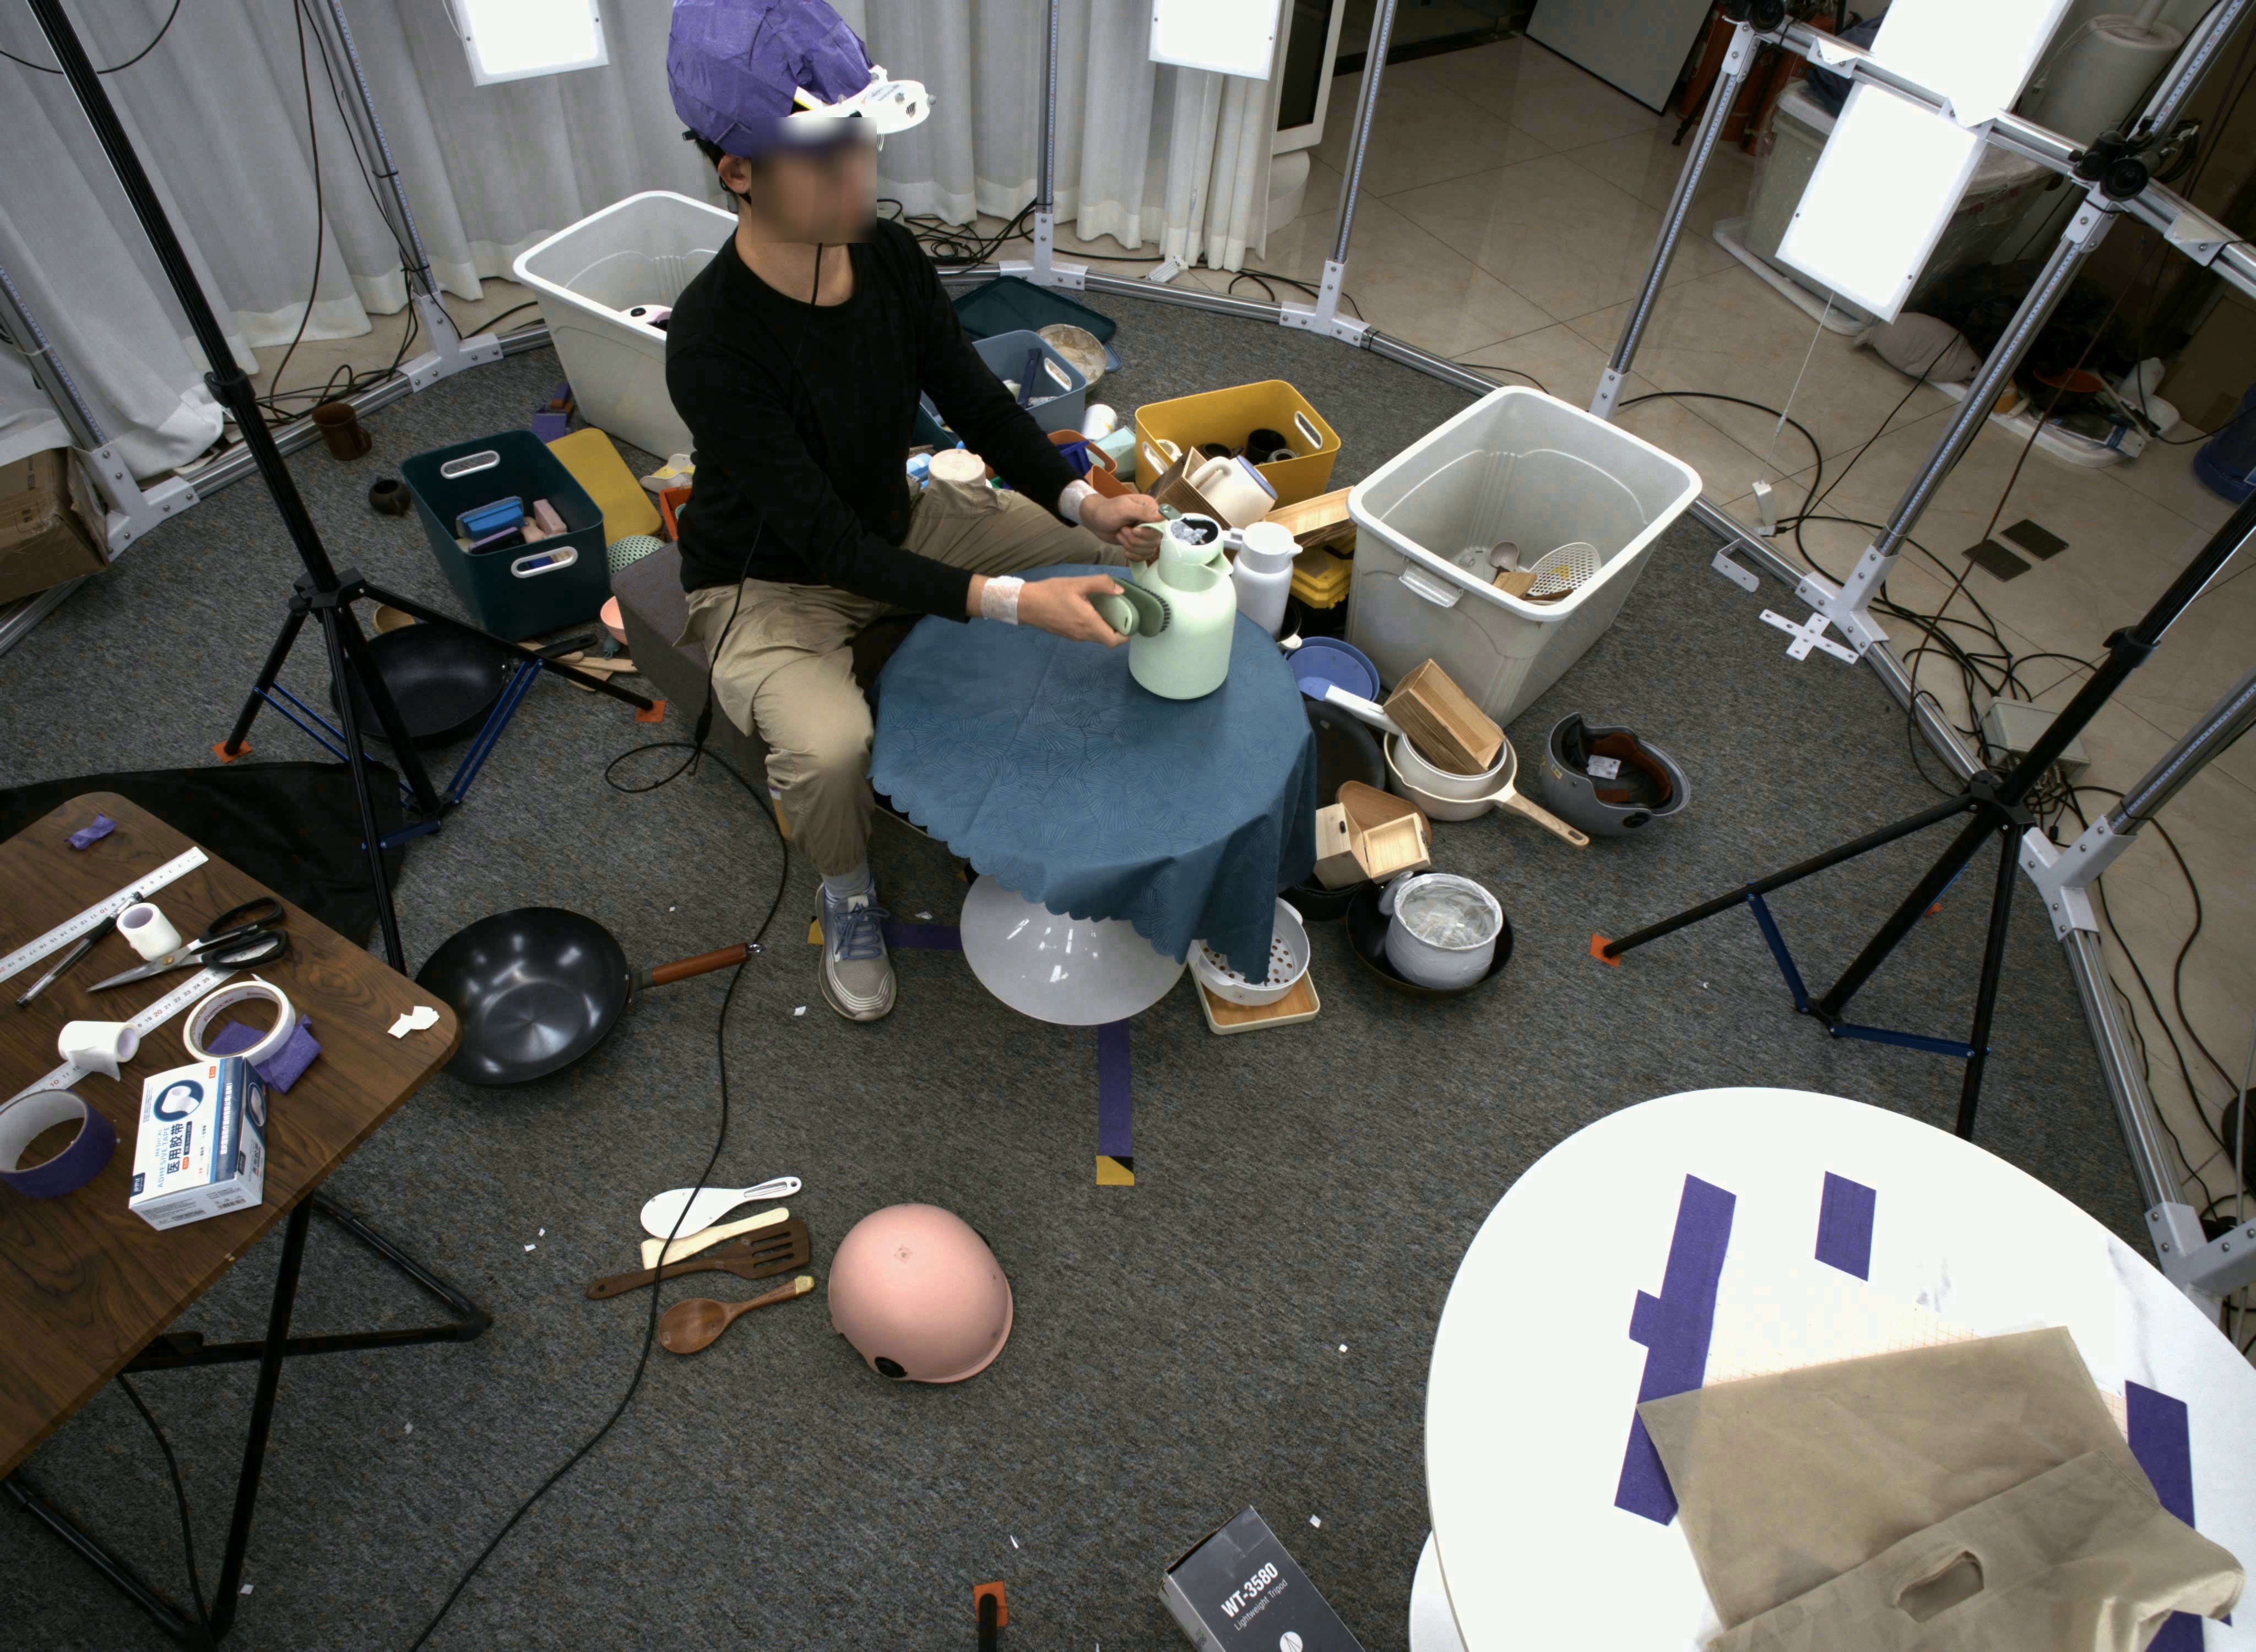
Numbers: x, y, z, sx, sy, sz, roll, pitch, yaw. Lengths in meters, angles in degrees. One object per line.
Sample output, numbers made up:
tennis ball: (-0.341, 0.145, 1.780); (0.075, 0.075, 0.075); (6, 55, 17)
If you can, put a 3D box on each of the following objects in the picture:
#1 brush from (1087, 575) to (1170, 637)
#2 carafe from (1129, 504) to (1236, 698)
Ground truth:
brush: (0.000, -0.292, 1.710); (0.075, 0.058, 0.125); (-9, 35, -33)
carafe: (0.070, -0.318, 1.785); (0.145, 0.250, 0.190); (-30, 55, -26)
